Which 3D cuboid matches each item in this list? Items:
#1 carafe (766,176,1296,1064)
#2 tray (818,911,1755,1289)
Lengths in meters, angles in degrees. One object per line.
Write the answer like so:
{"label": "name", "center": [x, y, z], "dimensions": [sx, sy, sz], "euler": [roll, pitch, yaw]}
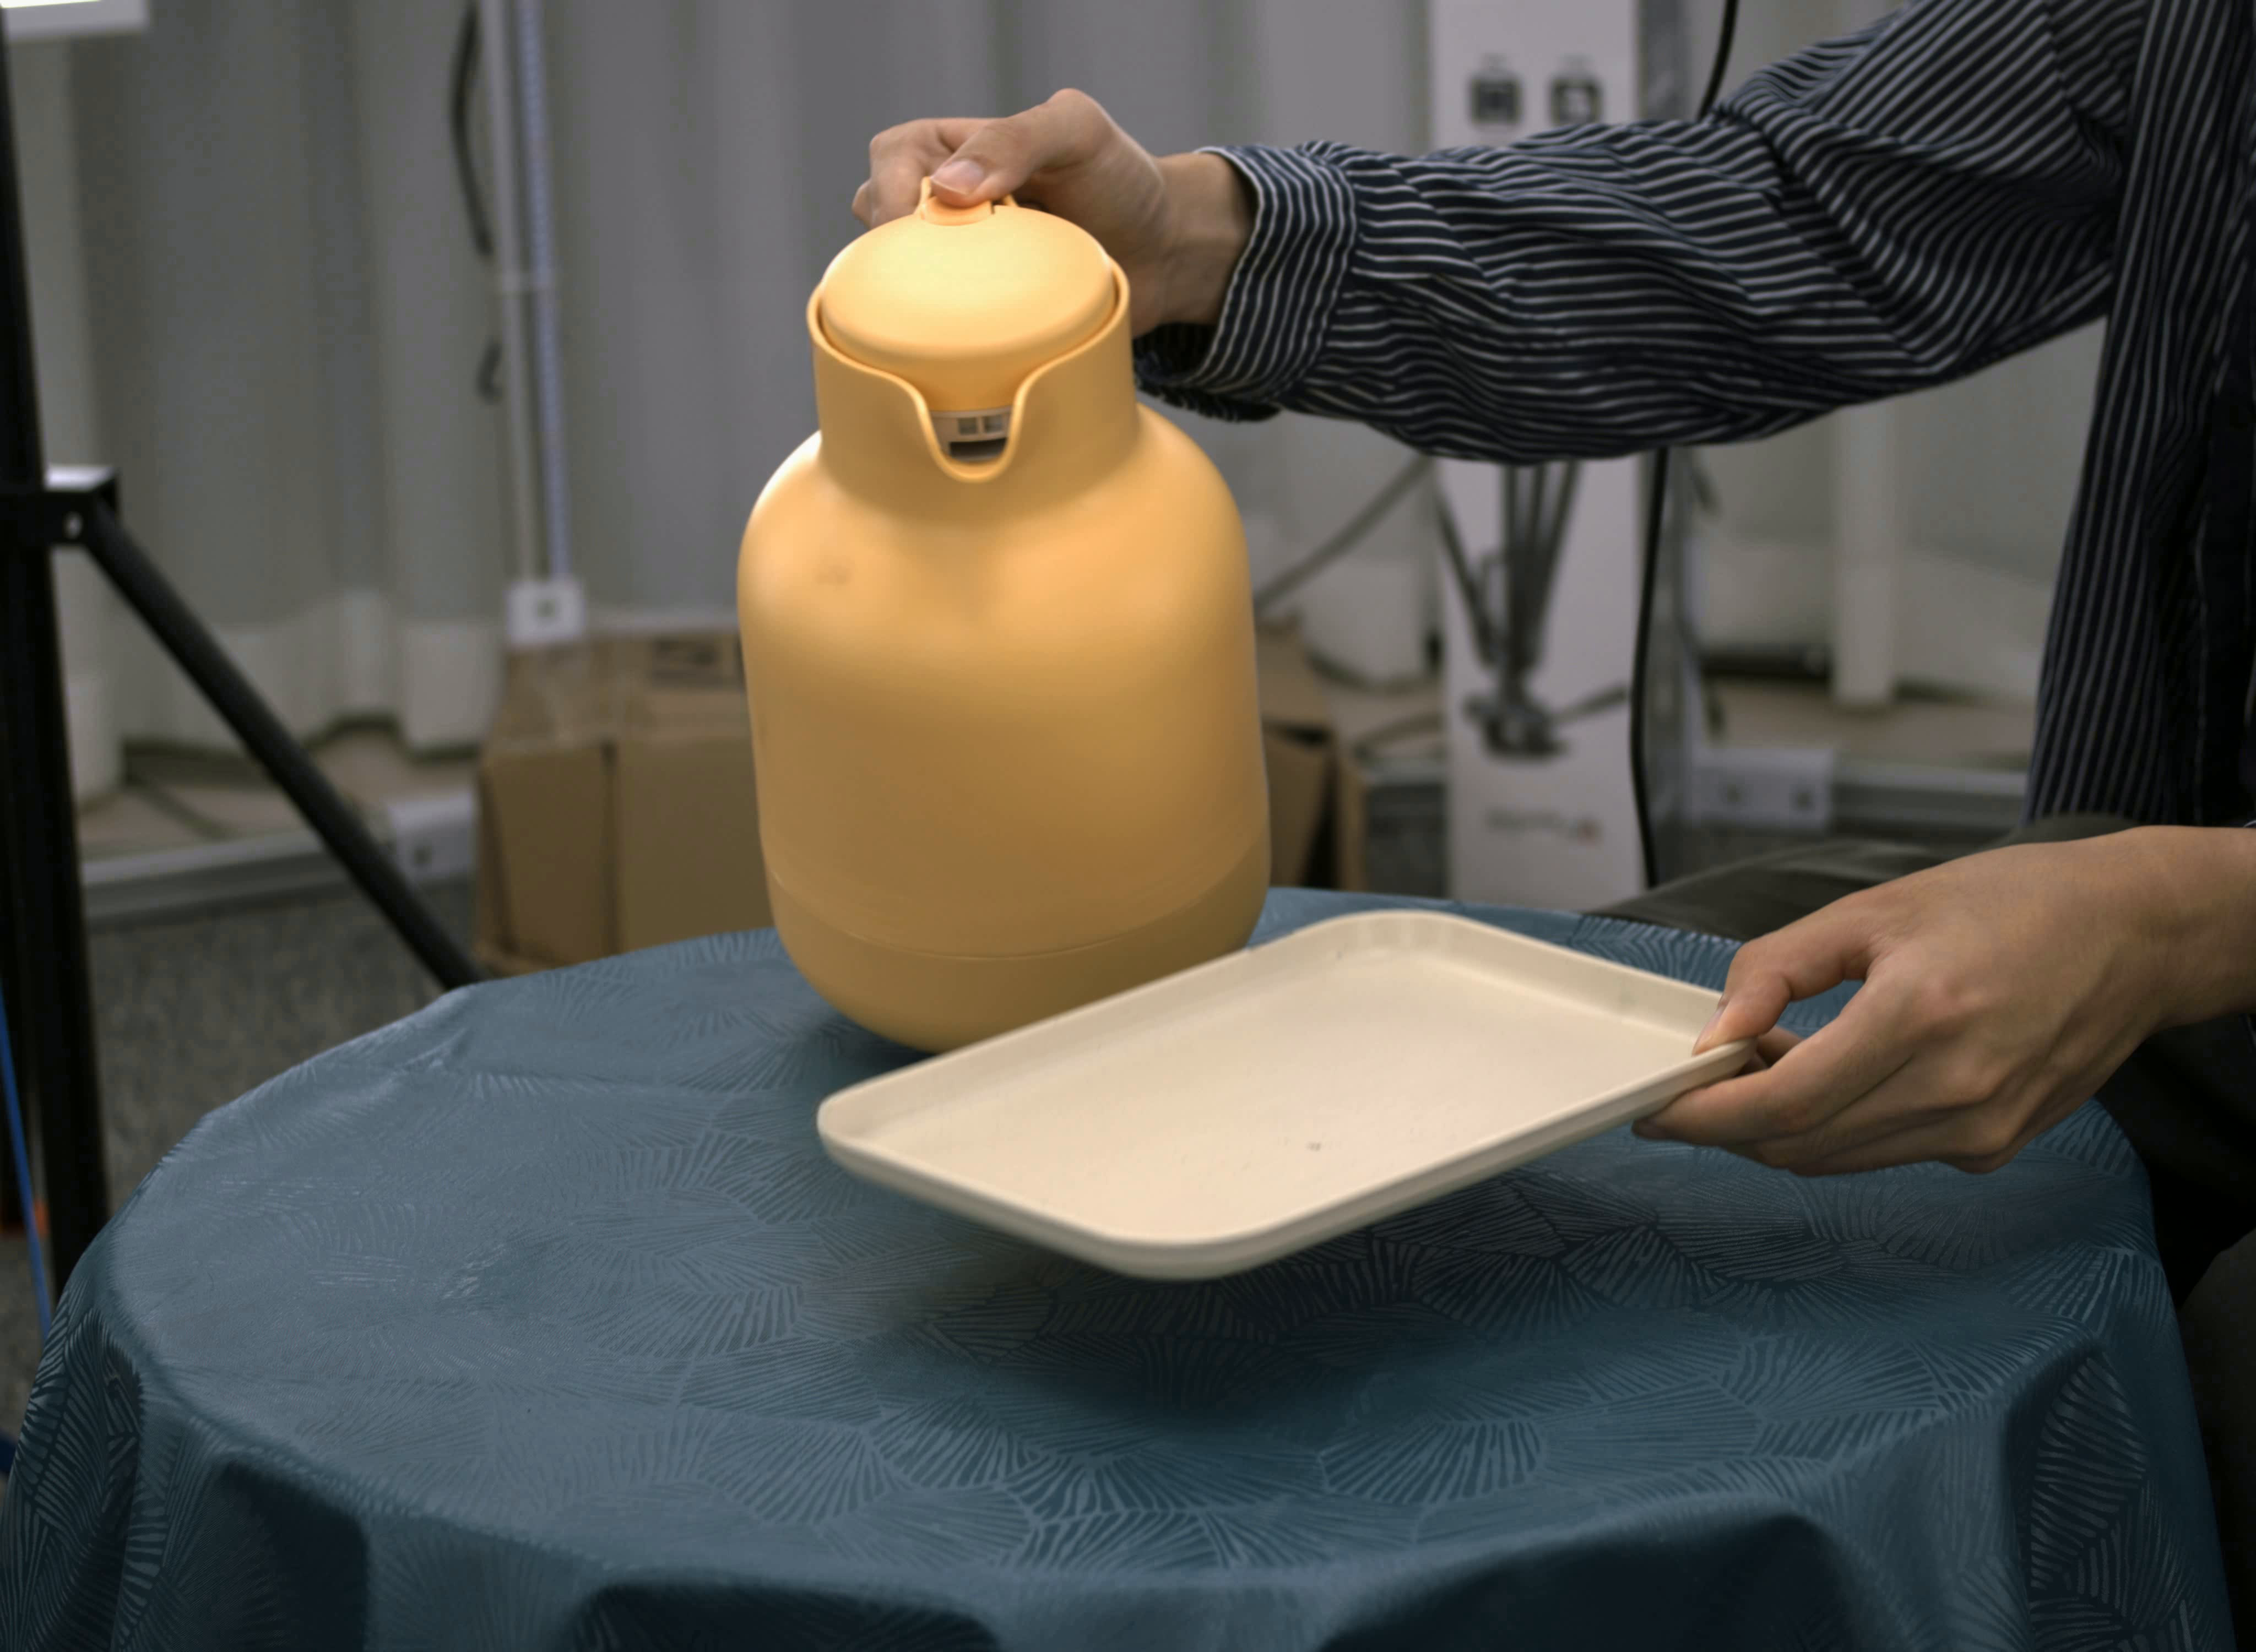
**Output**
{"label": "carafe", "center": [-0.032, -0.072, 1.675], "dimensions": [0.162, 0.259, 0.205], "euler": [-4, 35, -2]}
{"label": "tray", "center": [0.046, 0.075, 1.484], "dimensions": [0.234, 0.017, 0.175], "euler": [-18, 23, -37]}
